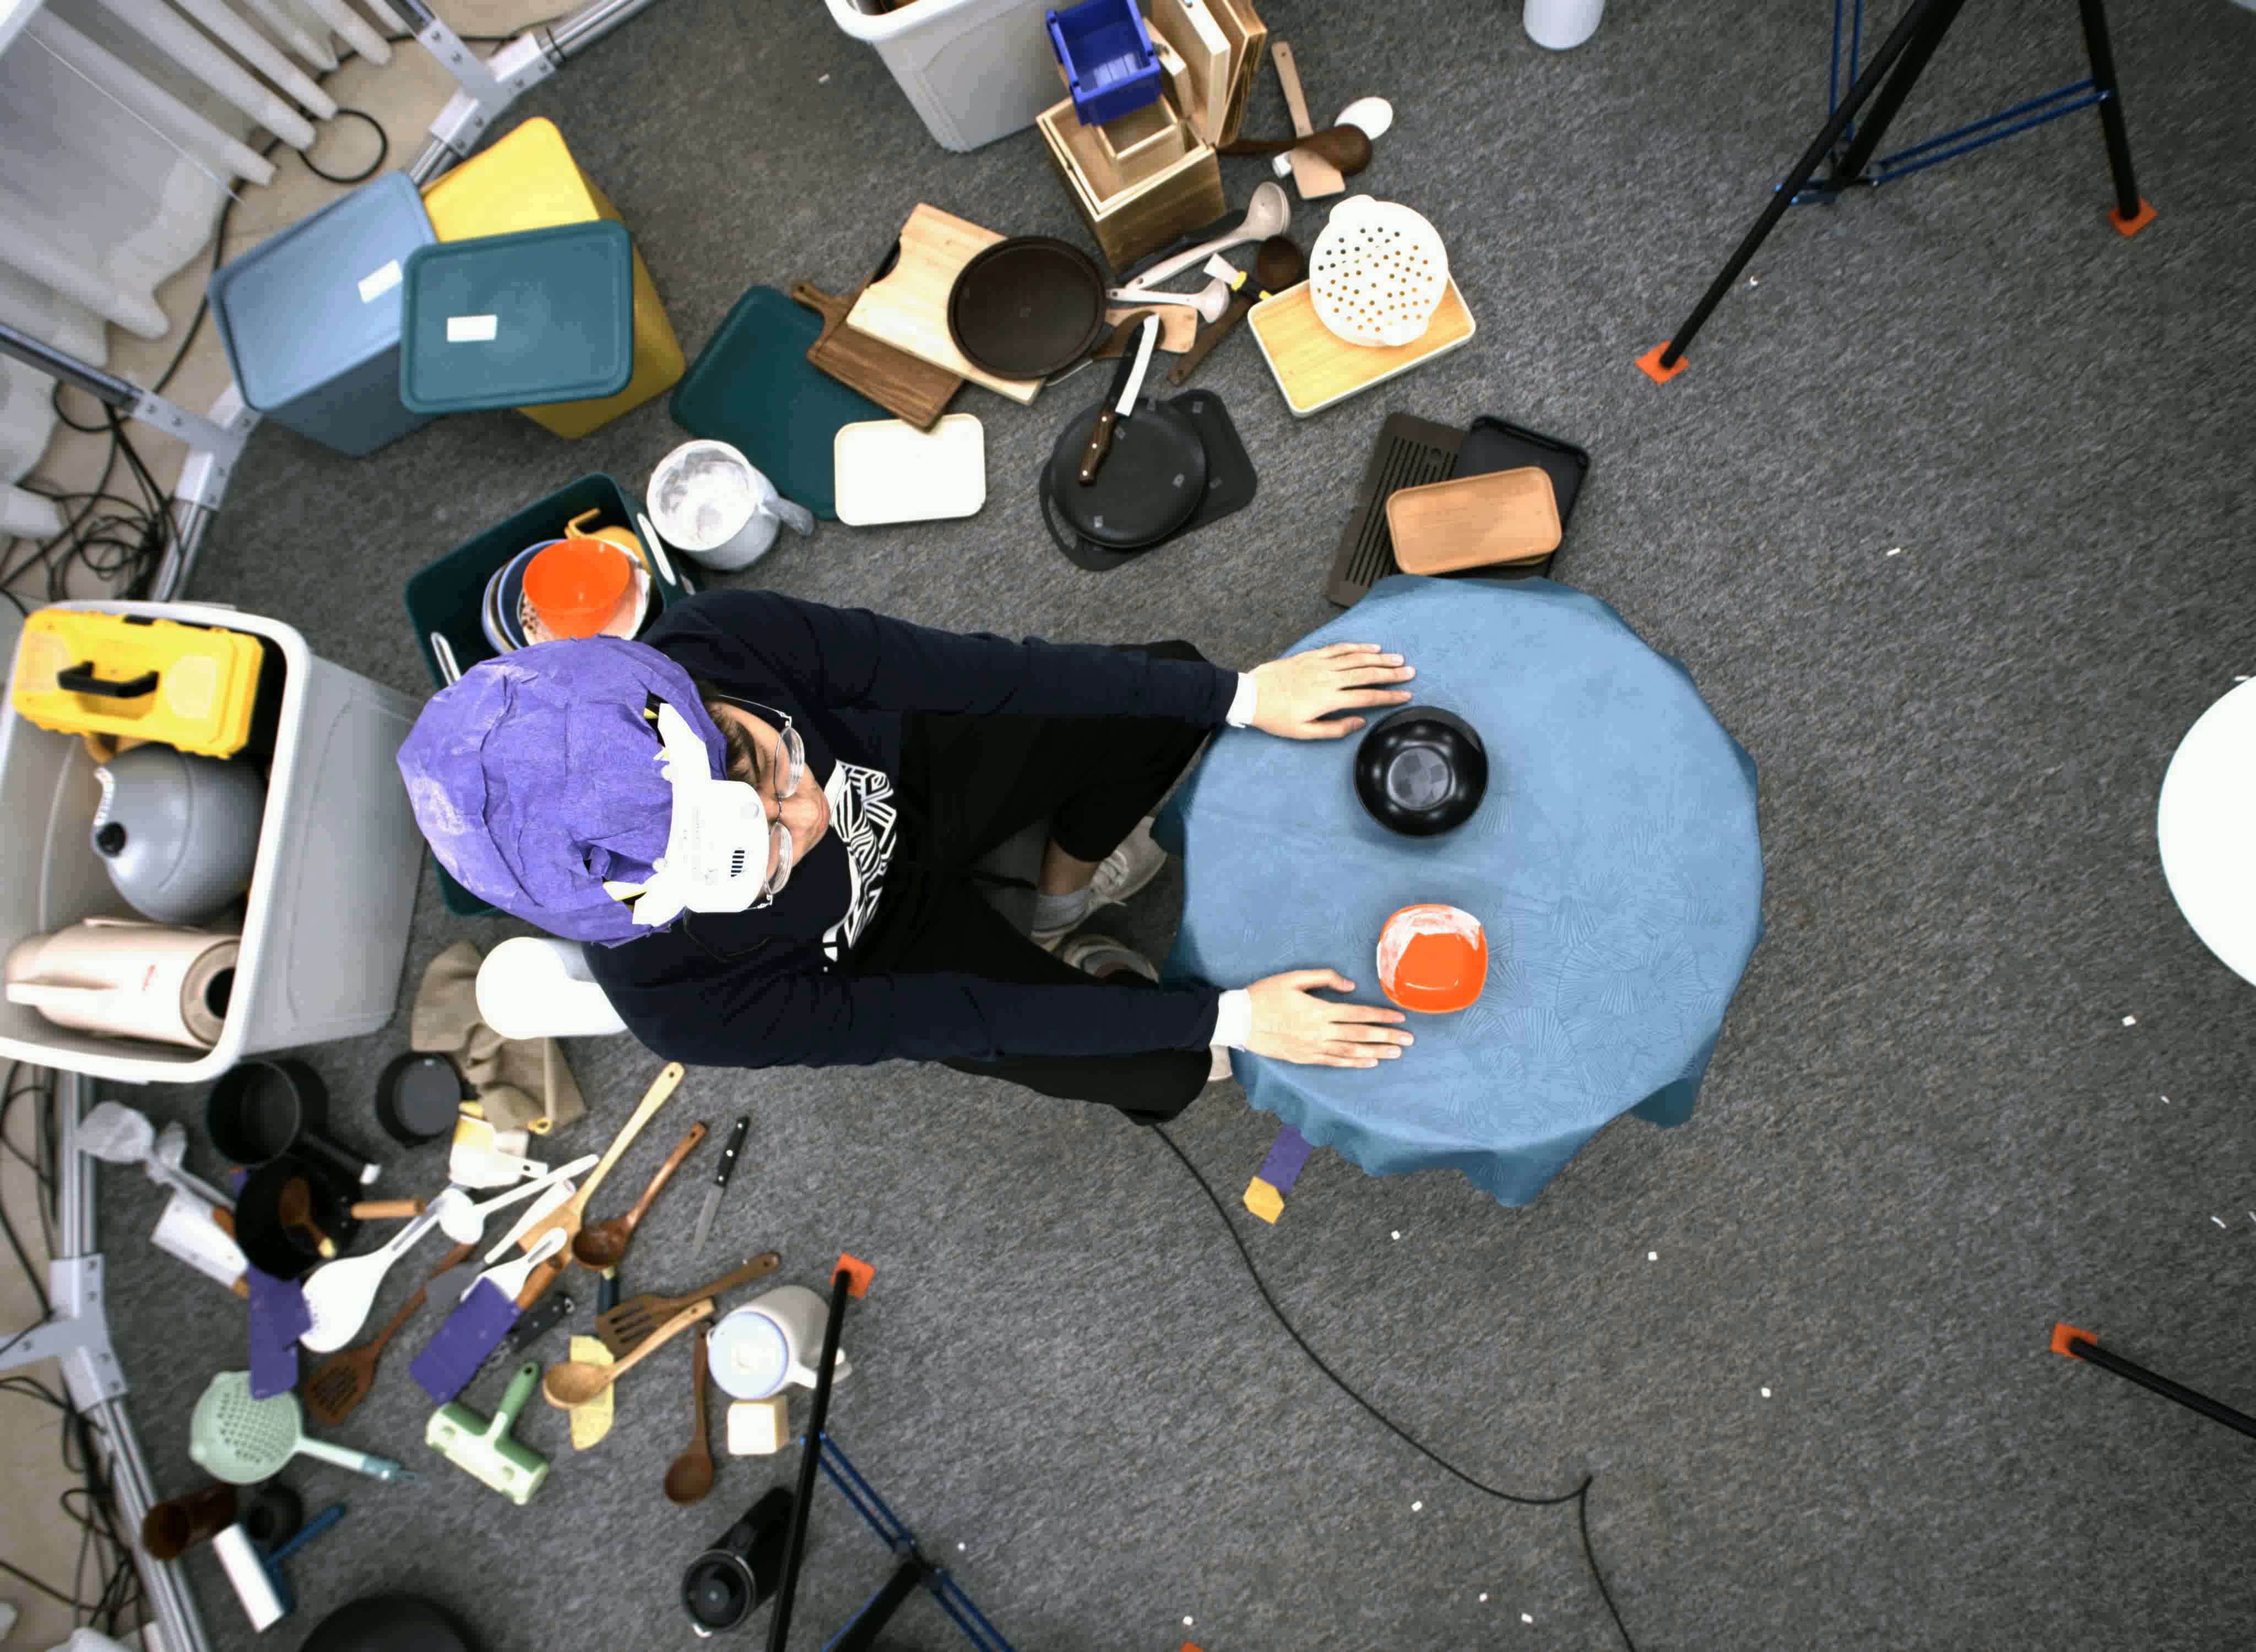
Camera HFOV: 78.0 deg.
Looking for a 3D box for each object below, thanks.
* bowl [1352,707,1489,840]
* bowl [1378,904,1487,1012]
[{"bbox_3d":[0.306,-0.054,1.438,0.141,0.050,0.139,-1,86,15],"label":"bowl"},{"bbox_3d":[0.312,0.134,1.422,0.119,0.051,0.118,-1,87,9],"label":"bowl"}]
